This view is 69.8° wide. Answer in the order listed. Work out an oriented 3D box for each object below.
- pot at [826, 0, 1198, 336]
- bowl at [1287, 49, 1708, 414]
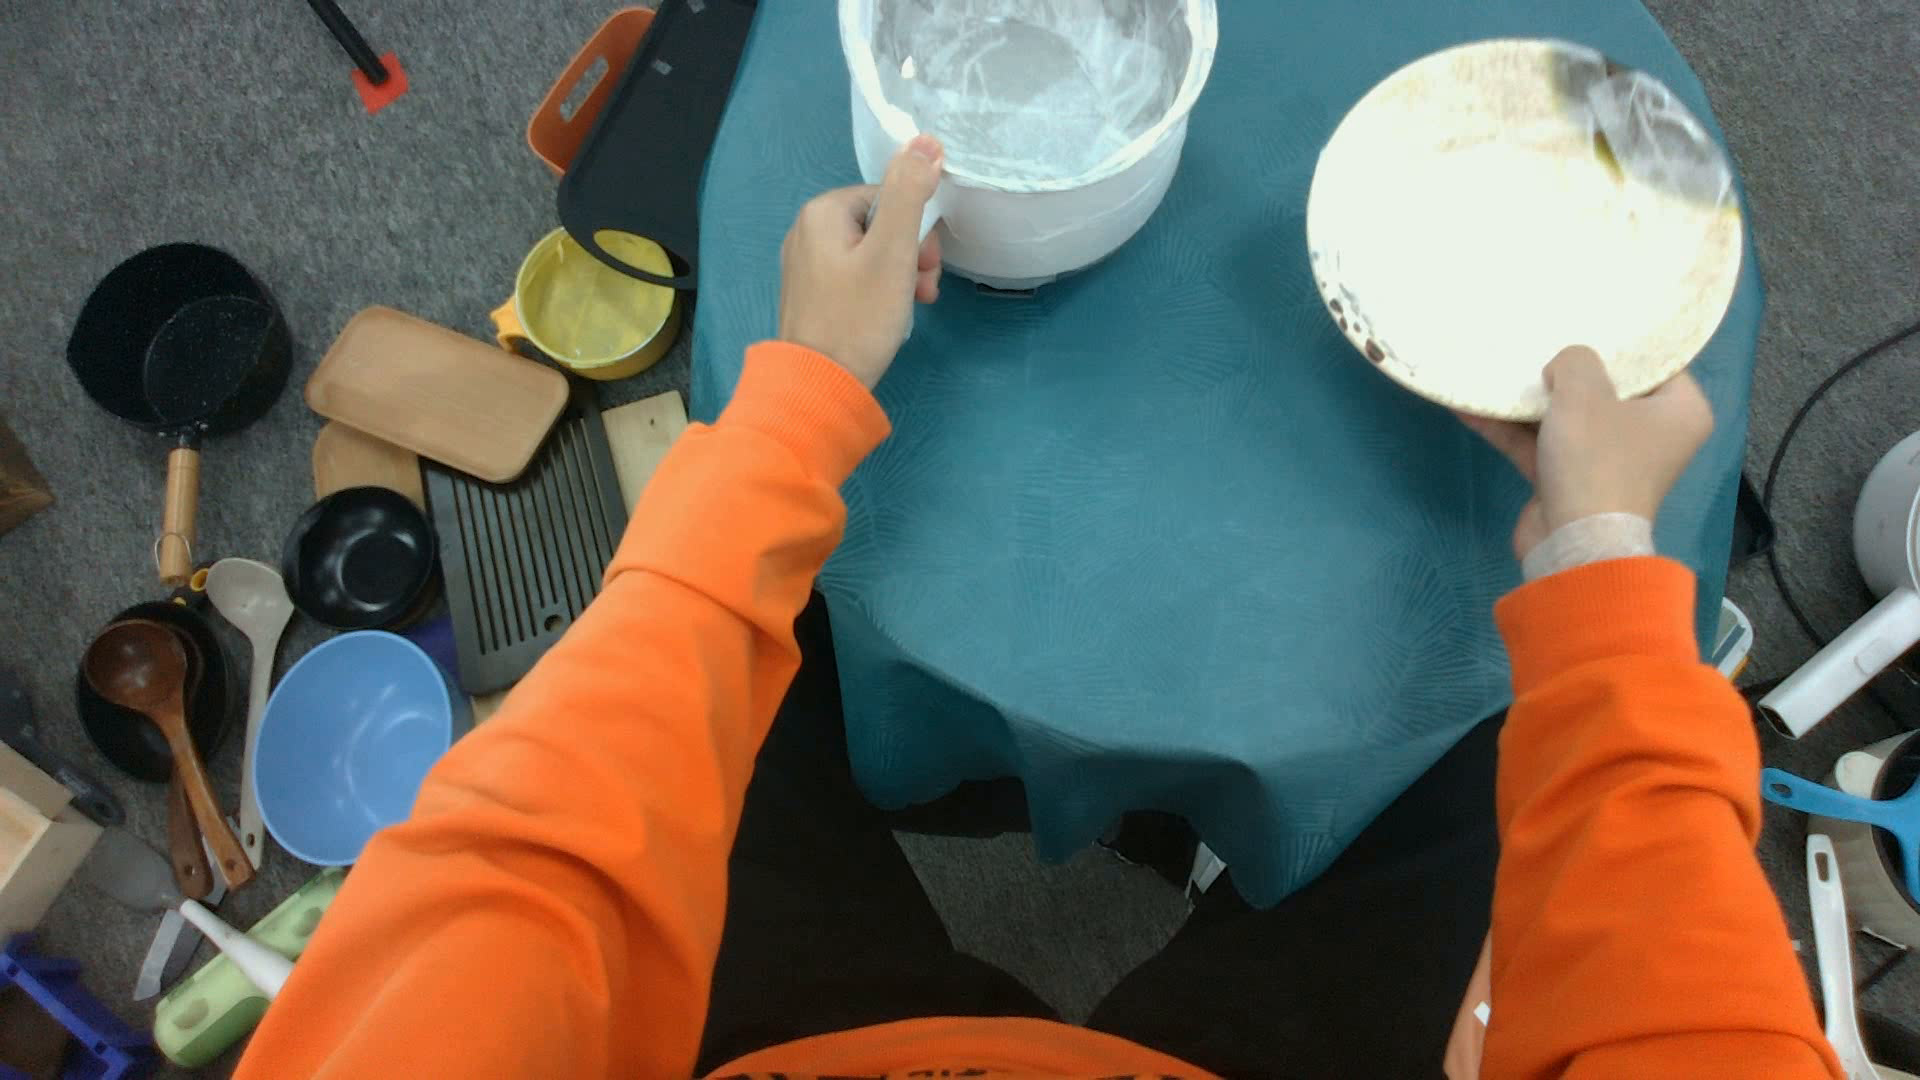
[{"bbox_3d":[0.010,-0.215,0.707,0.179,0.136,0.234,32,79,7],"label":"pot"},{"bbox_3d":[0.272,-0.149,0.725,0.204,0.078,0.204,-1,74,5],"label":"bowl"}]
